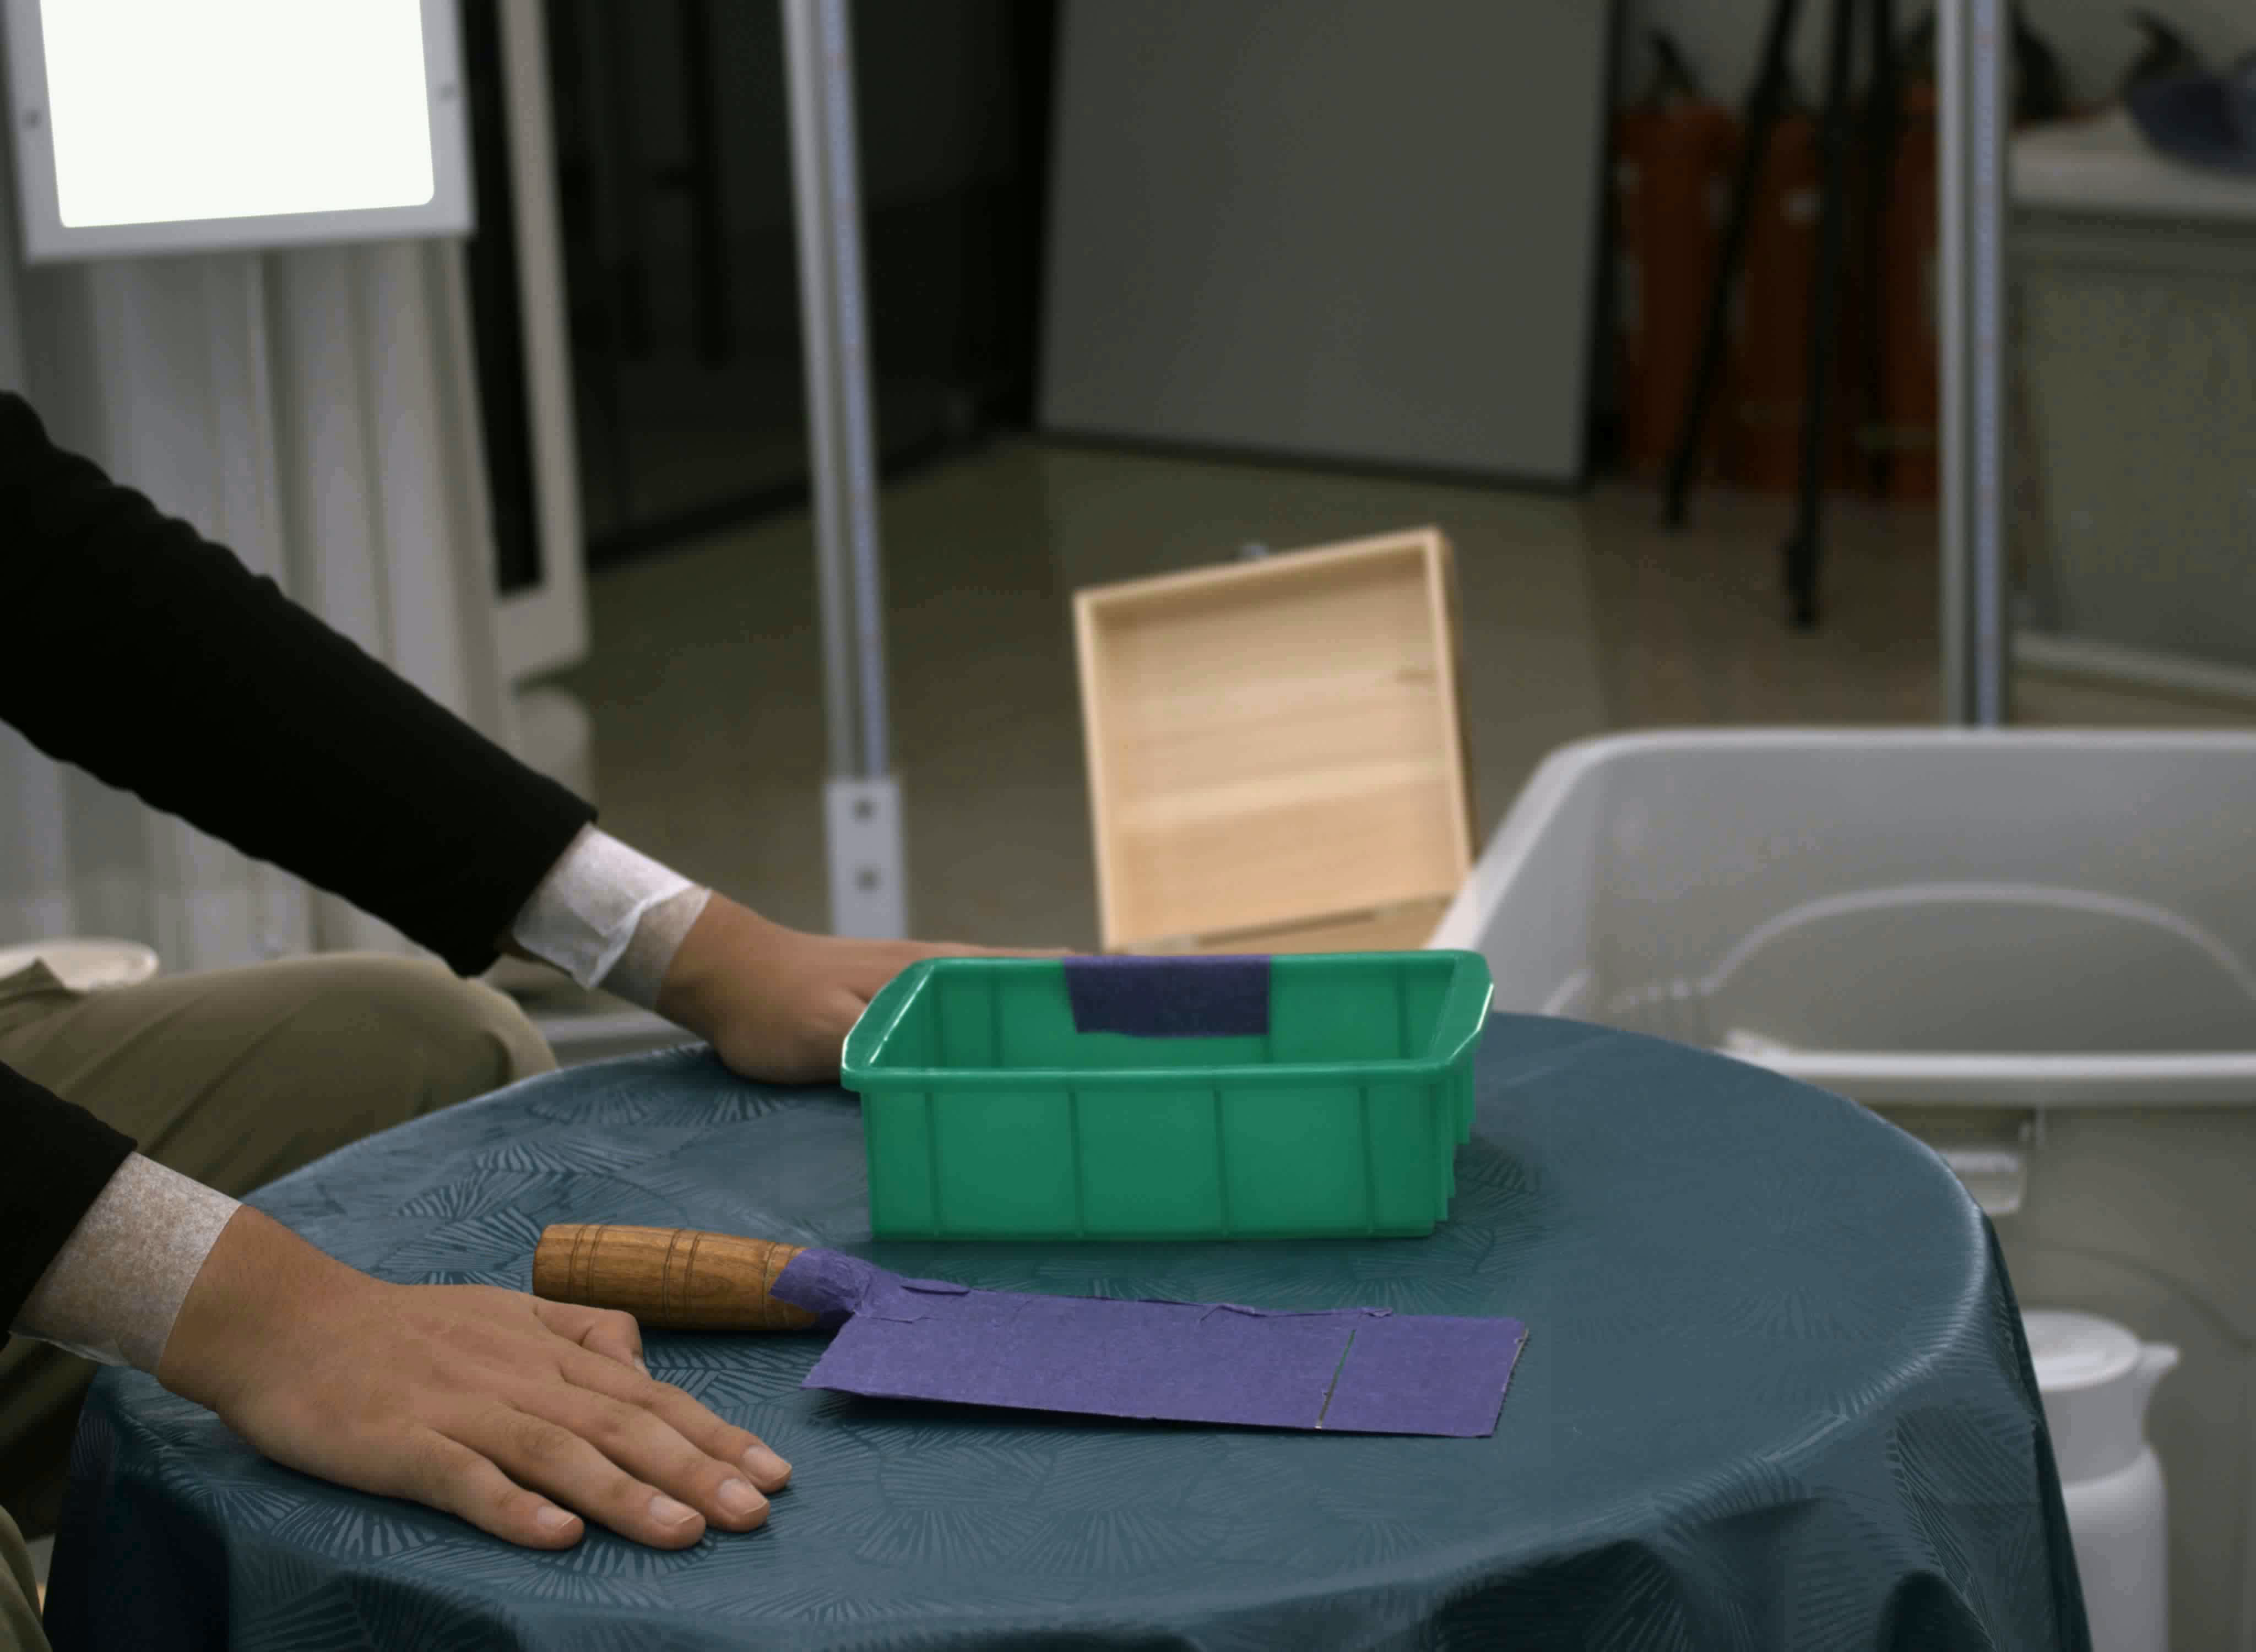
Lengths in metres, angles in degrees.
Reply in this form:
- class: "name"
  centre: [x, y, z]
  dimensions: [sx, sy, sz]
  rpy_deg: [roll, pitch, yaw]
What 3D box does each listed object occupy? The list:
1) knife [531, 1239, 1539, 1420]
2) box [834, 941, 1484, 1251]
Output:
- class: "knife"
  centre: [-0.036, 0.150, 1.606]
  dimensions: [0.313, 0.032, 0.103]
  rpy_deg: [0, 14, 14]
- class: "box"
  centre: [0.014, 0.089, 1.766]
  dimensions: [0.209, 0.066, 0.138]
  rpy_deg: [-4, 12, 10]
